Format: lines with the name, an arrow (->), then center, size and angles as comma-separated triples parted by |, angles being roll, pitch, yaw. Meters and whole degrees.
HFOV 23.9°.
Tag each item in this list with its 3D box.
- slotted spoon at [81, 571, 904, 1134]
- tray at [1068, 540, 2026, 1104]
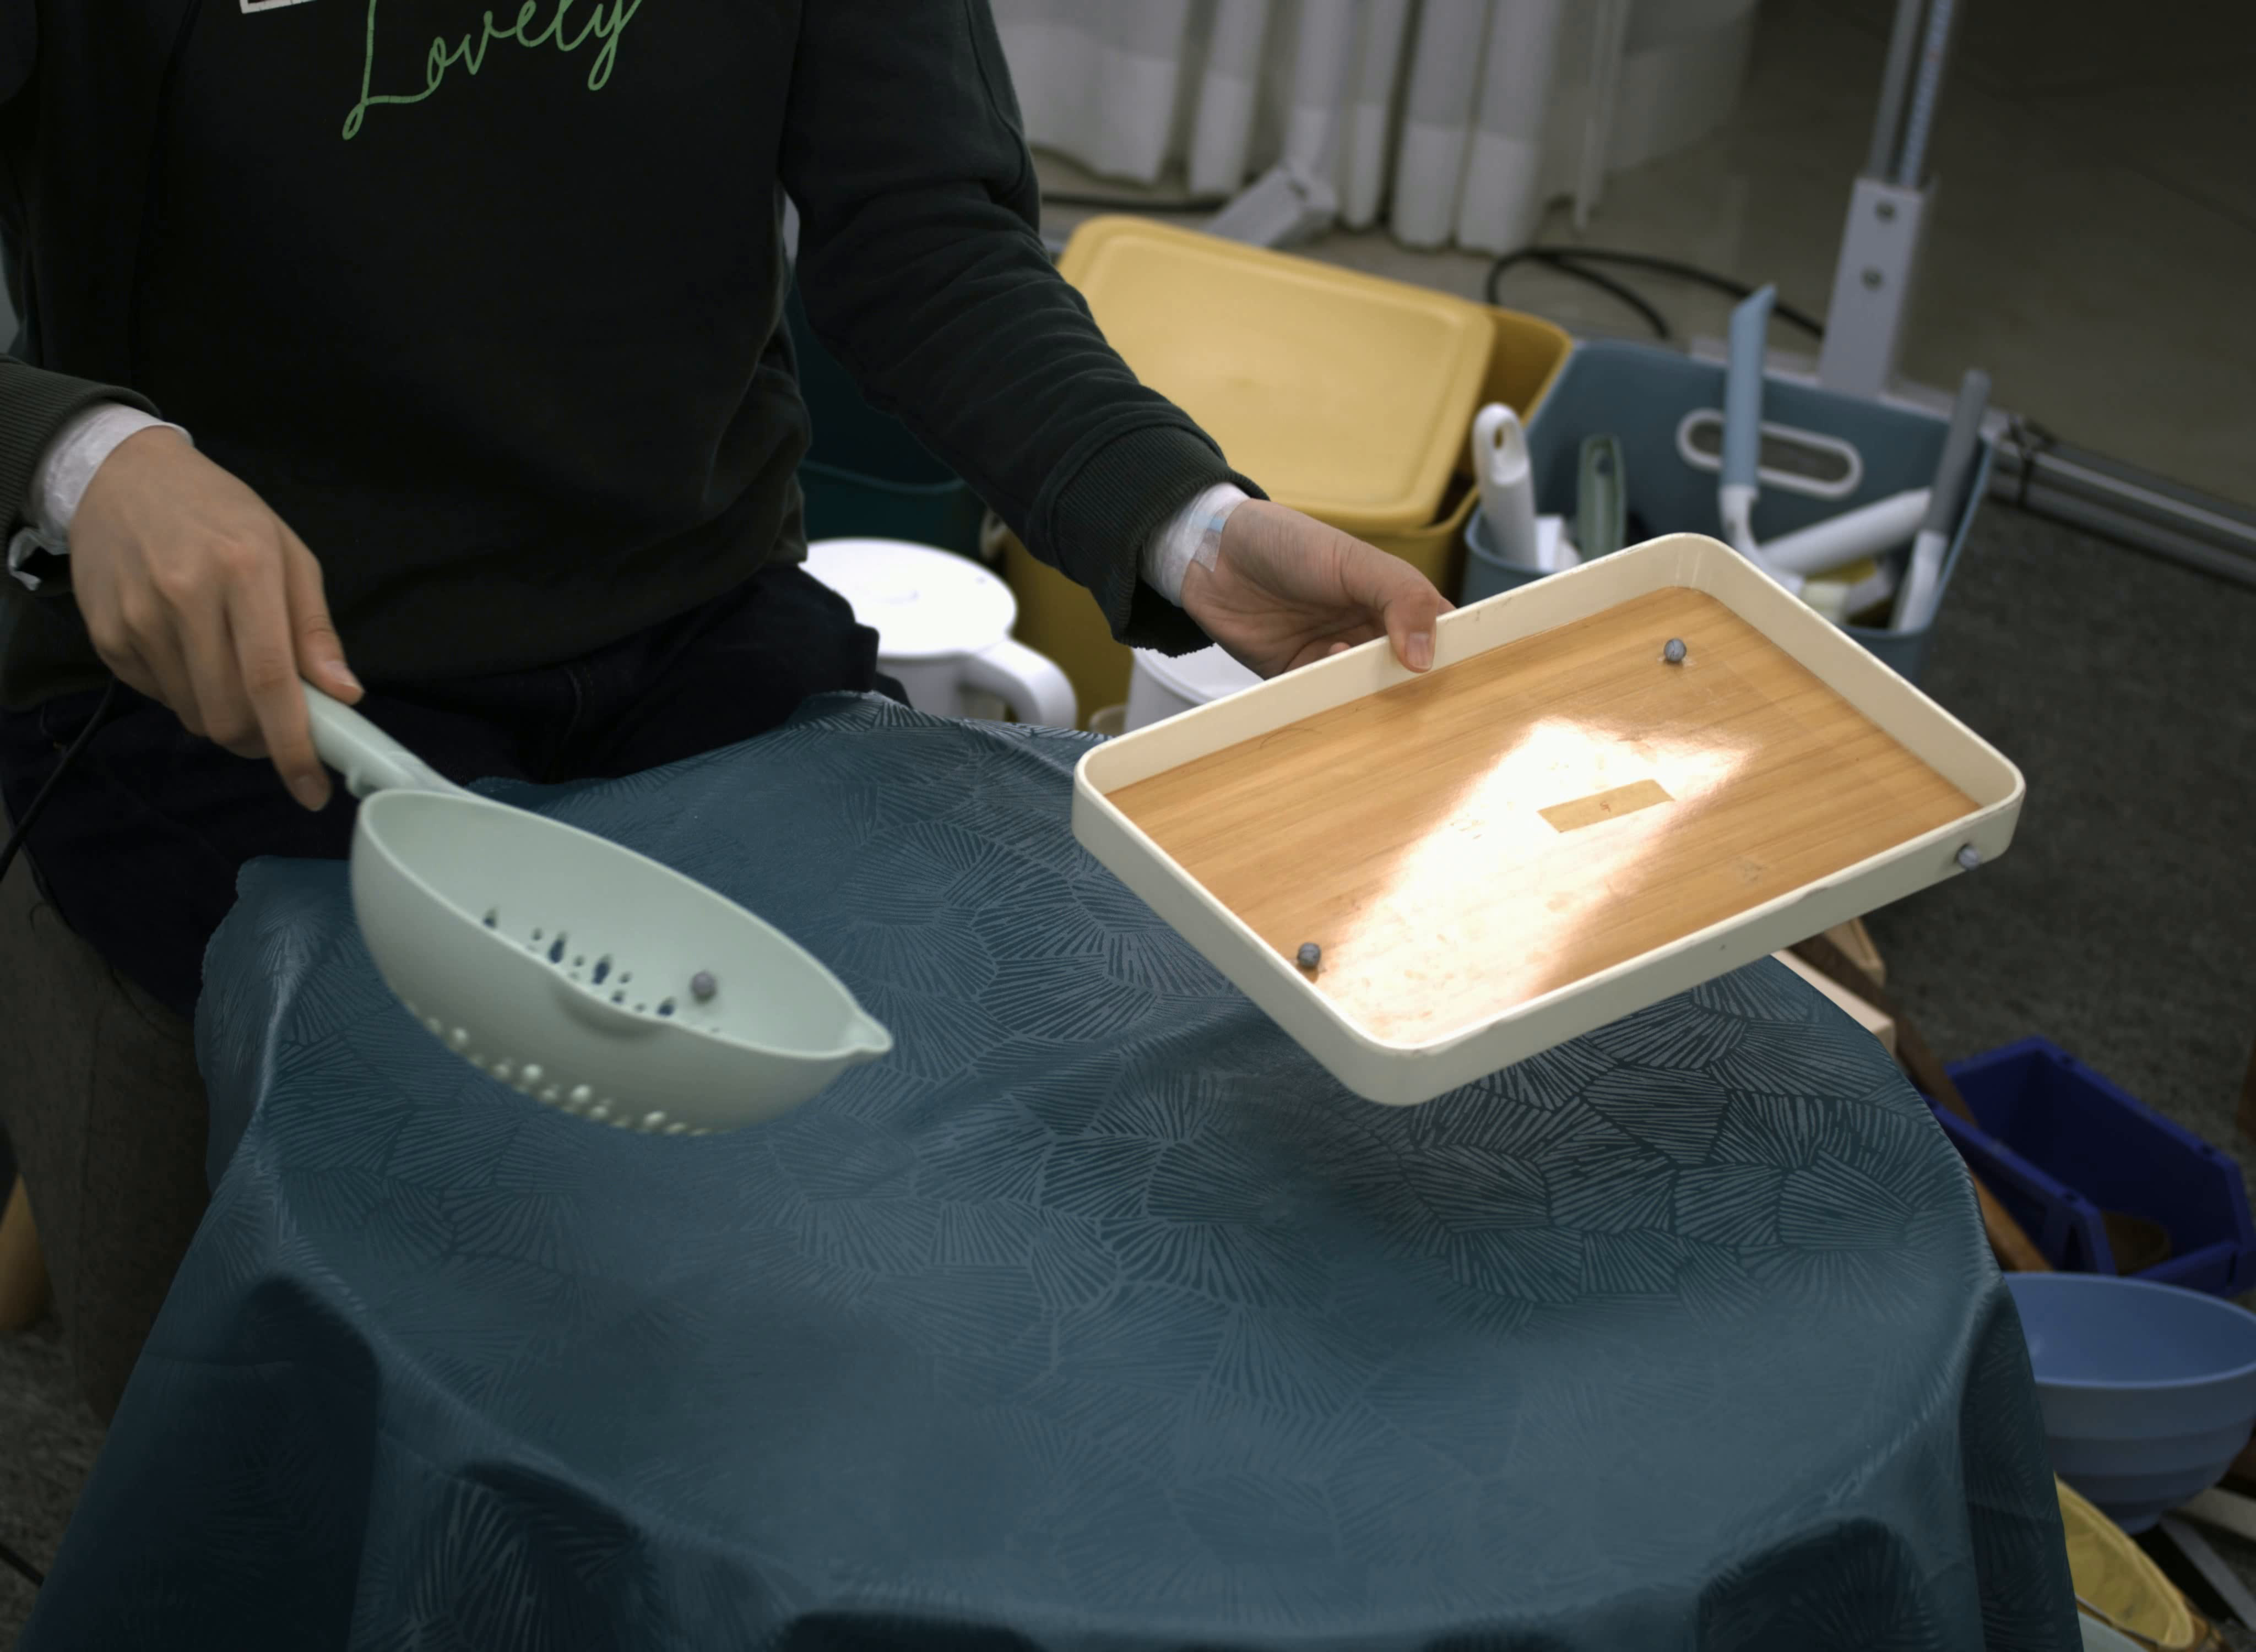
slotted spoon -> -0.223, -0.006, 1.681 | 0.168, 0.075, 0.362 | 13, 25, -52
tray -> 0.147, -0.007, 1.862 | 0.299, 0.027, 0.193 | -20, 44, -31
